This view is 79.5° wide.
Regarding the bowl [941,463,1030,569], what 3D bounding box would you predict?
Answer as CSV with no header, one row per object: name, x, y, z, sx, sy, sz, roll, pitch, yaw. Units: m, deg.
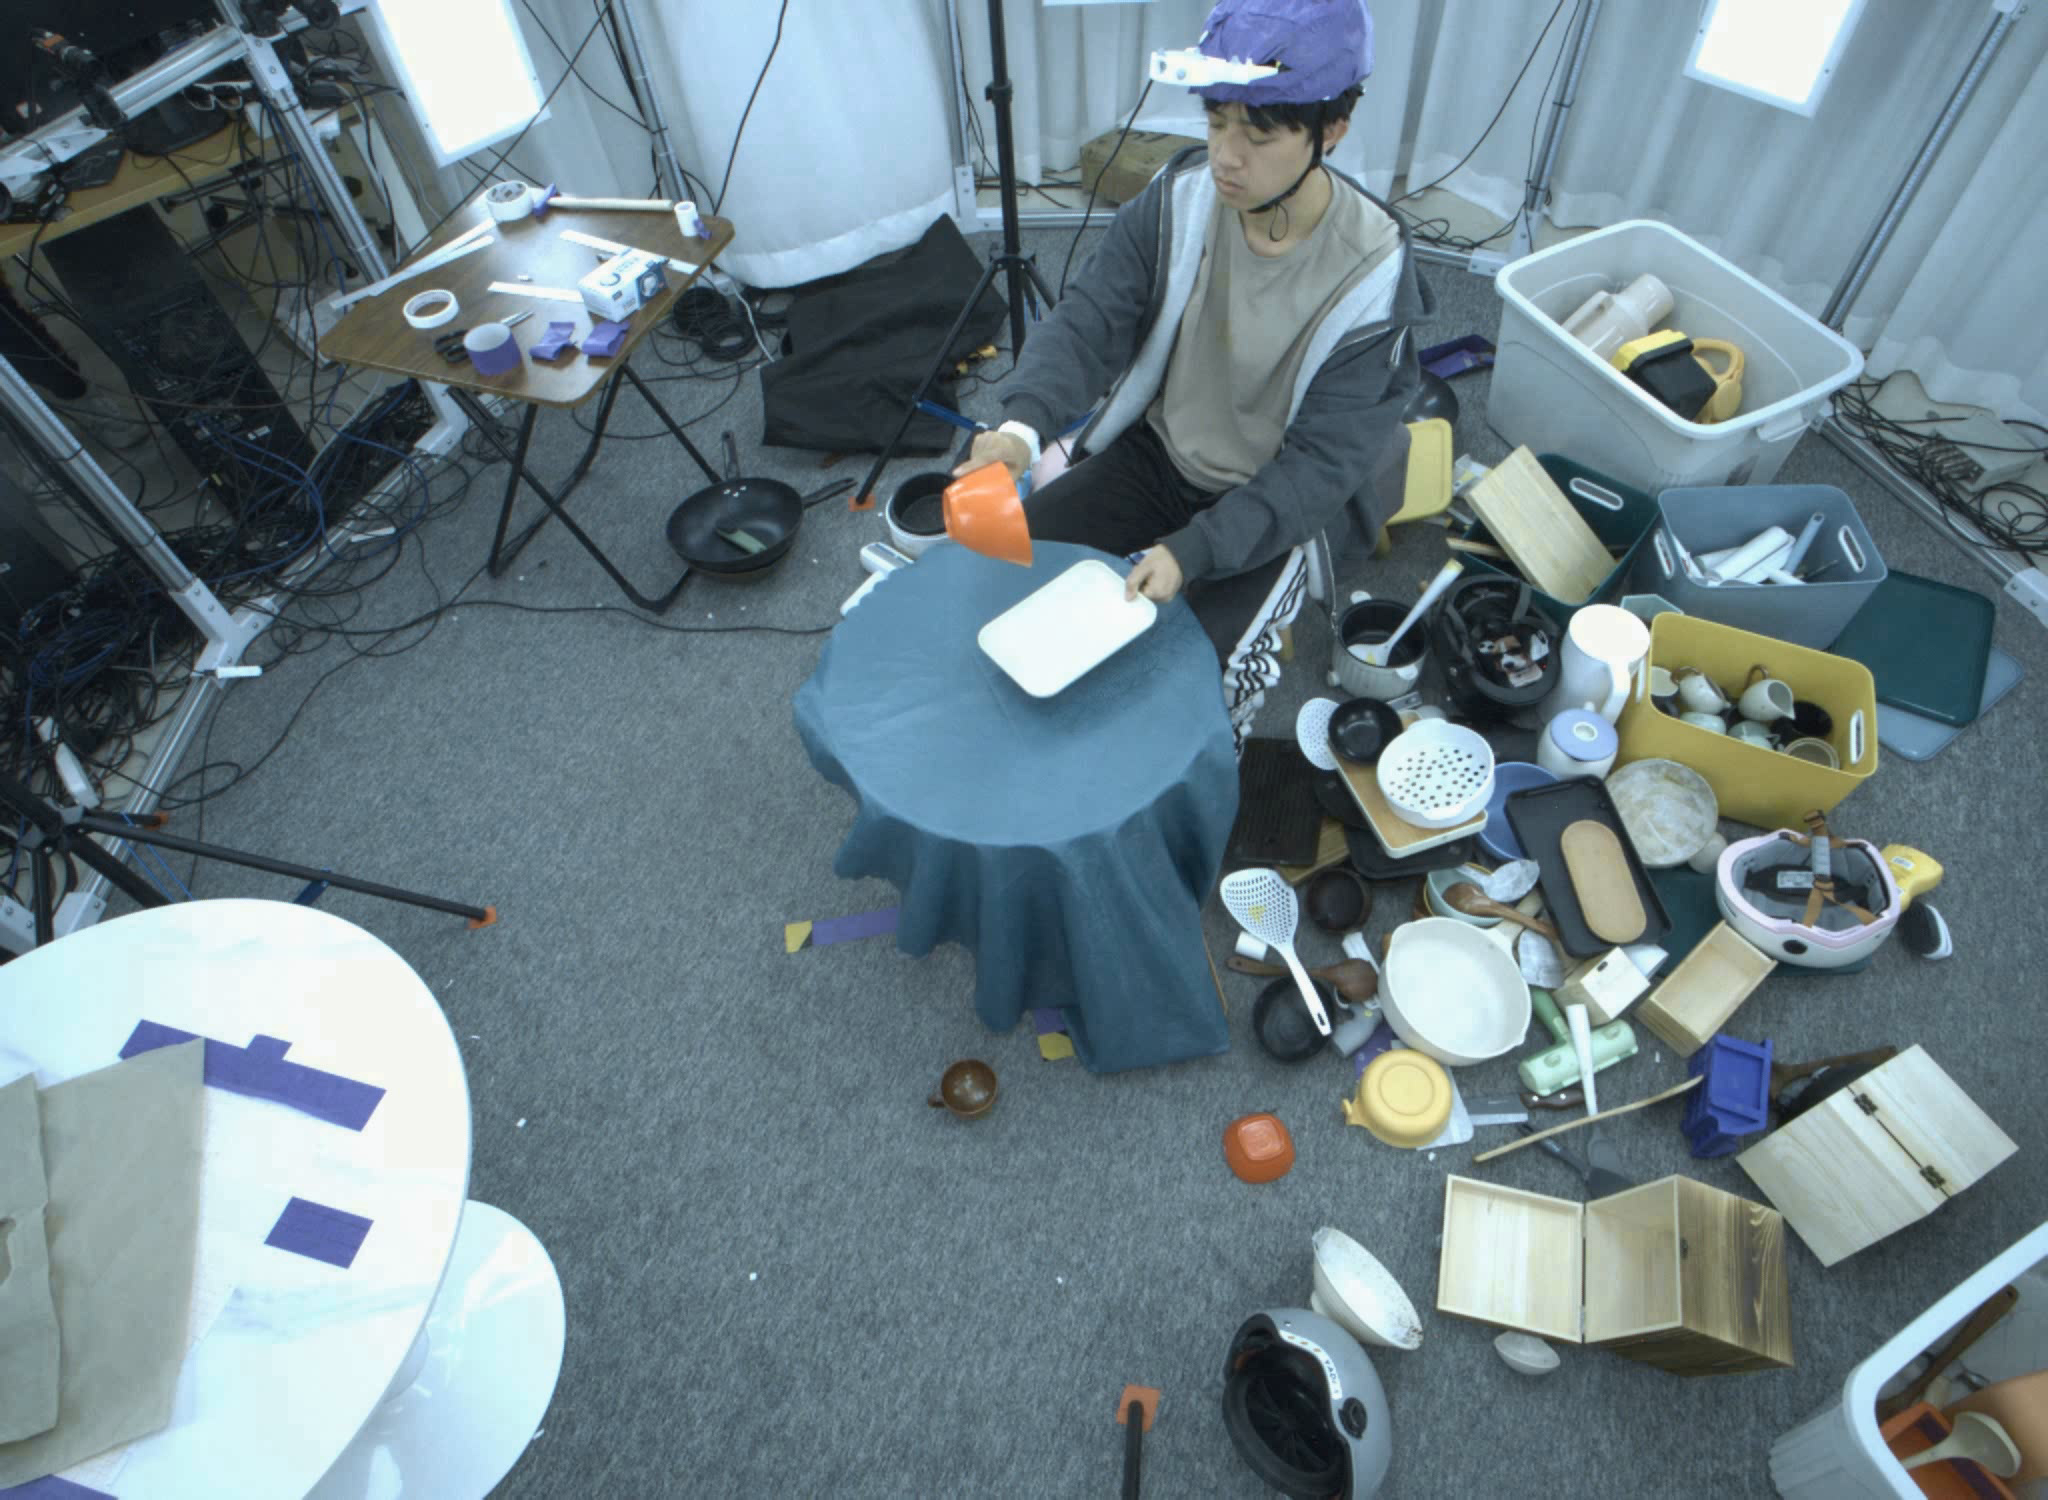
bowl,-0.055,-0.313,1.658,0.105,0.149,0.145,-9,55,-12

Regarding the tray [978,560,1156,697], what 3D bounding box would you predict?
tray,0.064,-0.182,1.829,0.241,0.018,0.168,-36,59,-17
